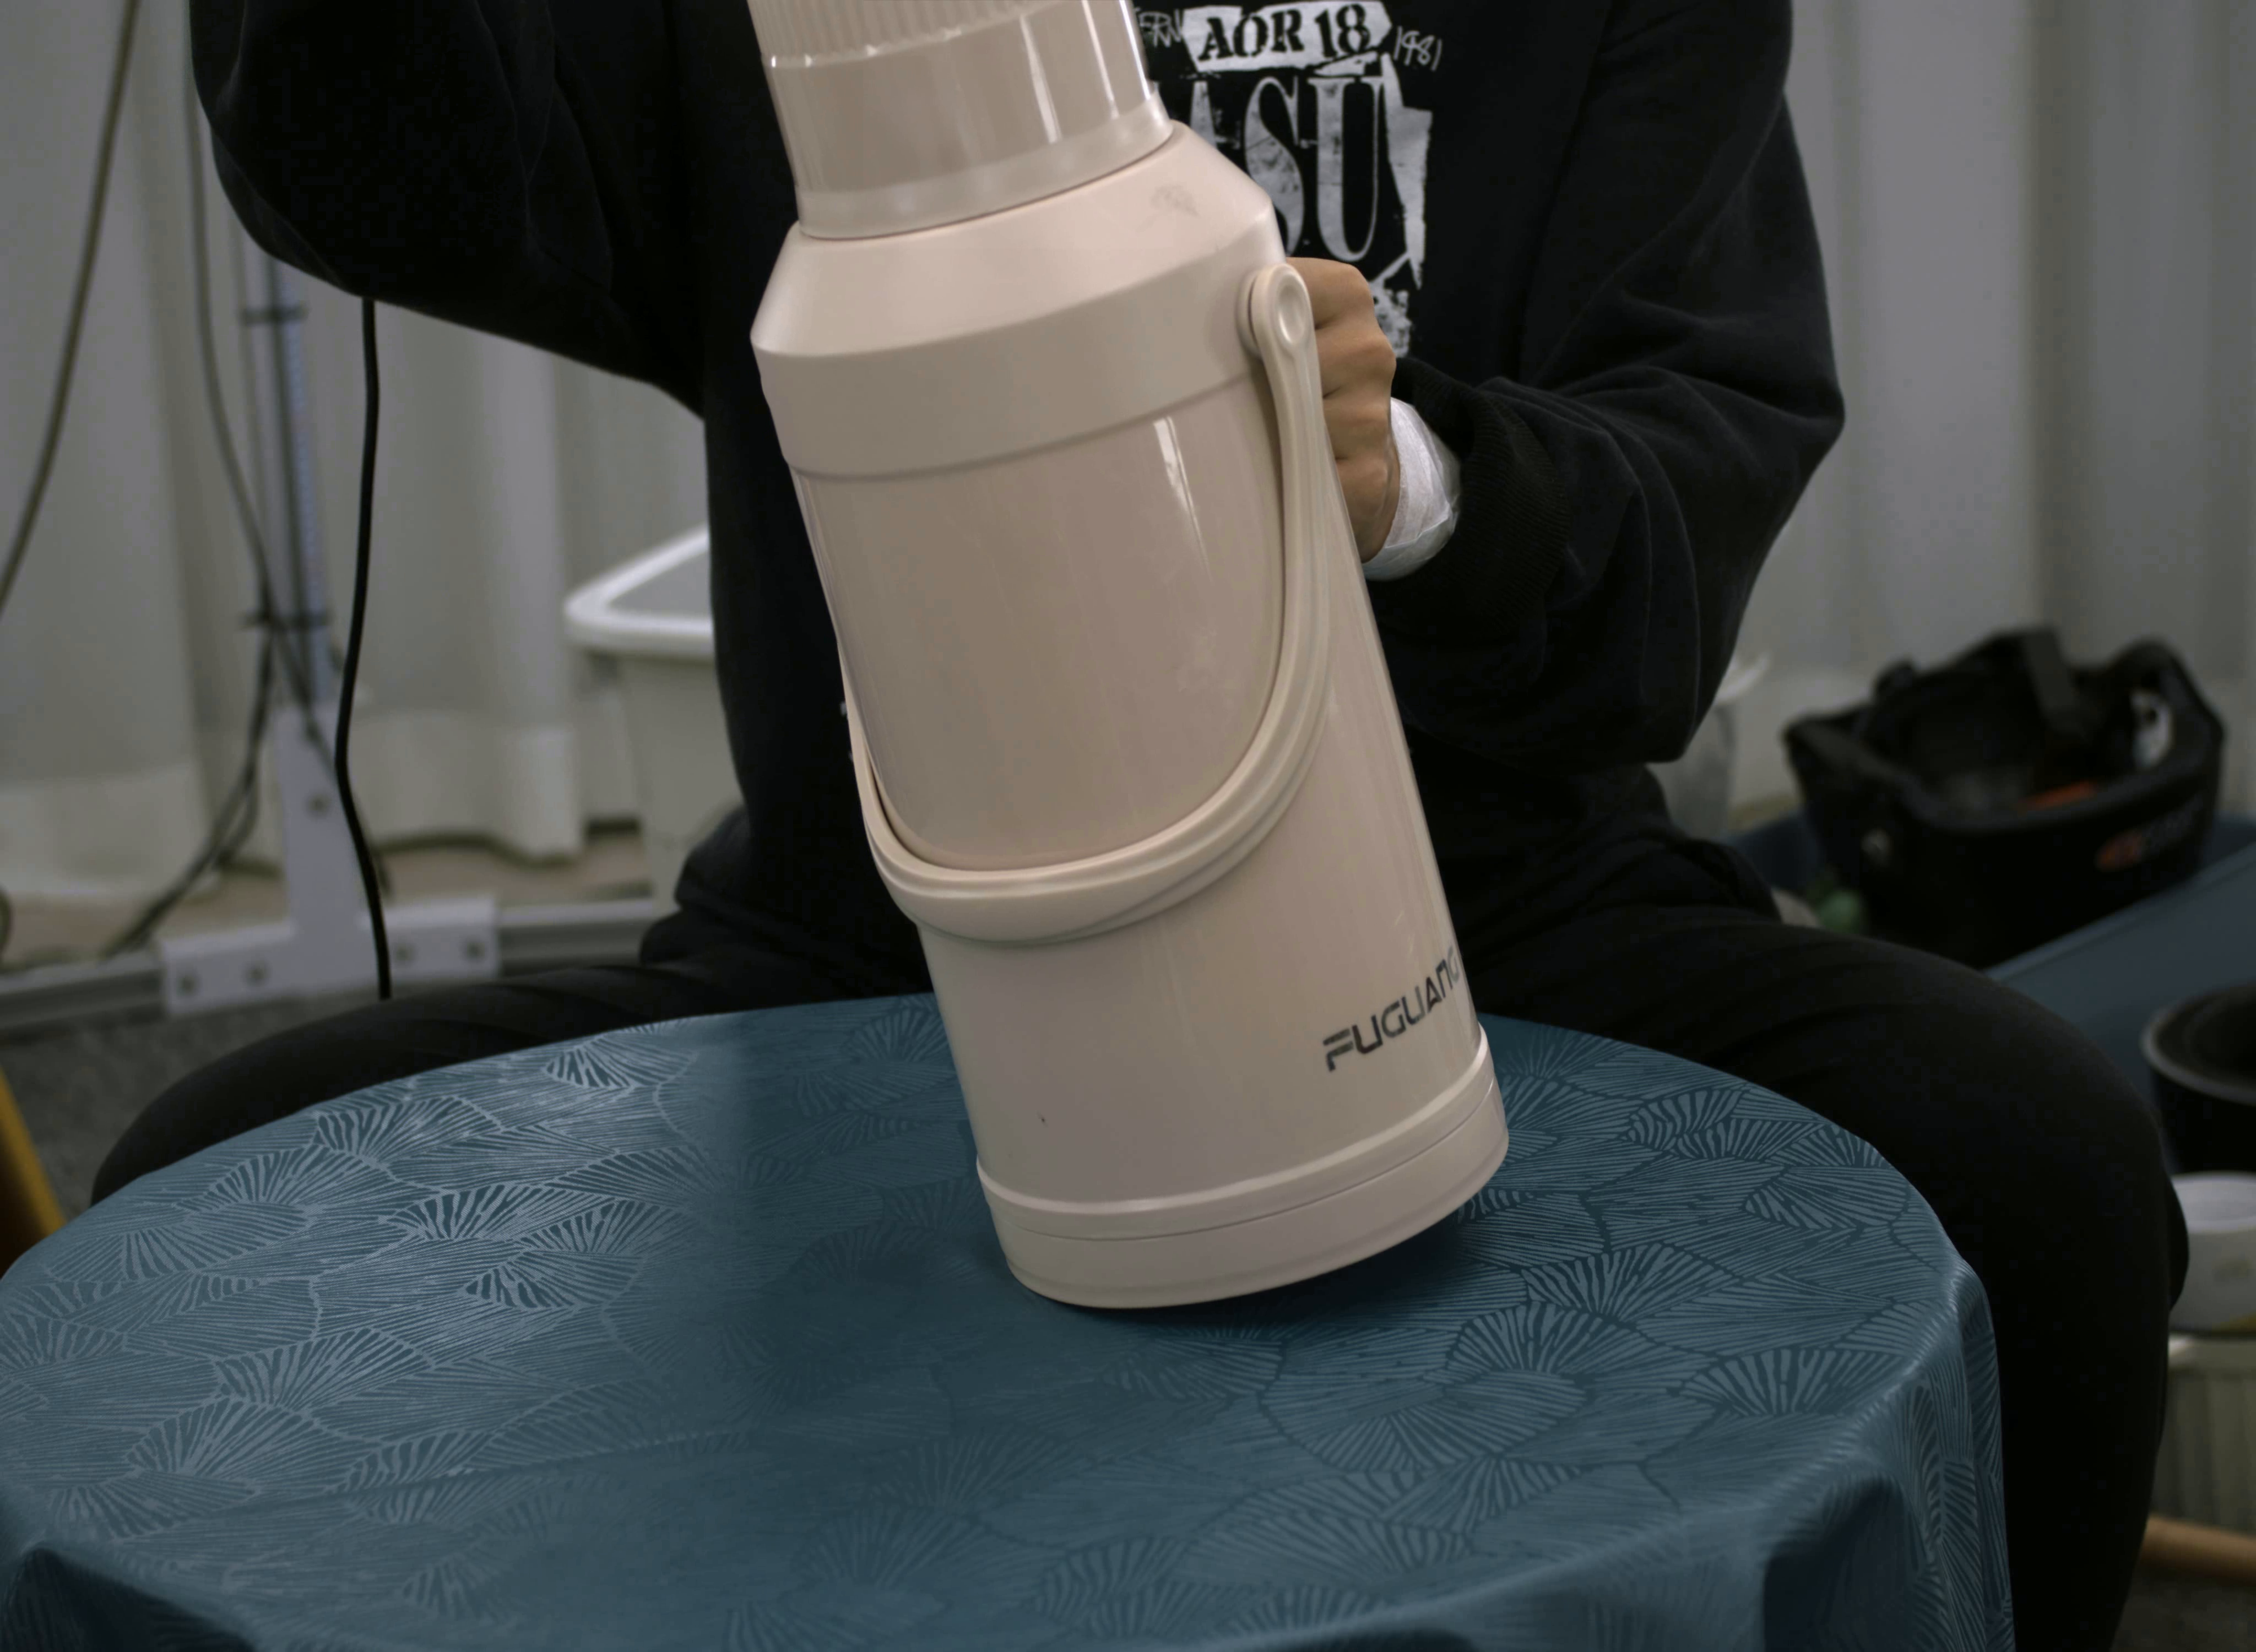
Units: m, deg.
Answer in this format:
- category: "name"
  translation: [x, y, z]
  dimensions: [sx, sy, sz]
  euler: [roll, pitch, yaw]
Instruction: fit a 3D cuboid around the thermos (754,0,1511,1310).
- category: "thermos"
  translation: [-0.001, -0.076, 1.617]
  dimensions: [0.175, 0.404, 0.208]
  euler: [-7, 18, 31]
